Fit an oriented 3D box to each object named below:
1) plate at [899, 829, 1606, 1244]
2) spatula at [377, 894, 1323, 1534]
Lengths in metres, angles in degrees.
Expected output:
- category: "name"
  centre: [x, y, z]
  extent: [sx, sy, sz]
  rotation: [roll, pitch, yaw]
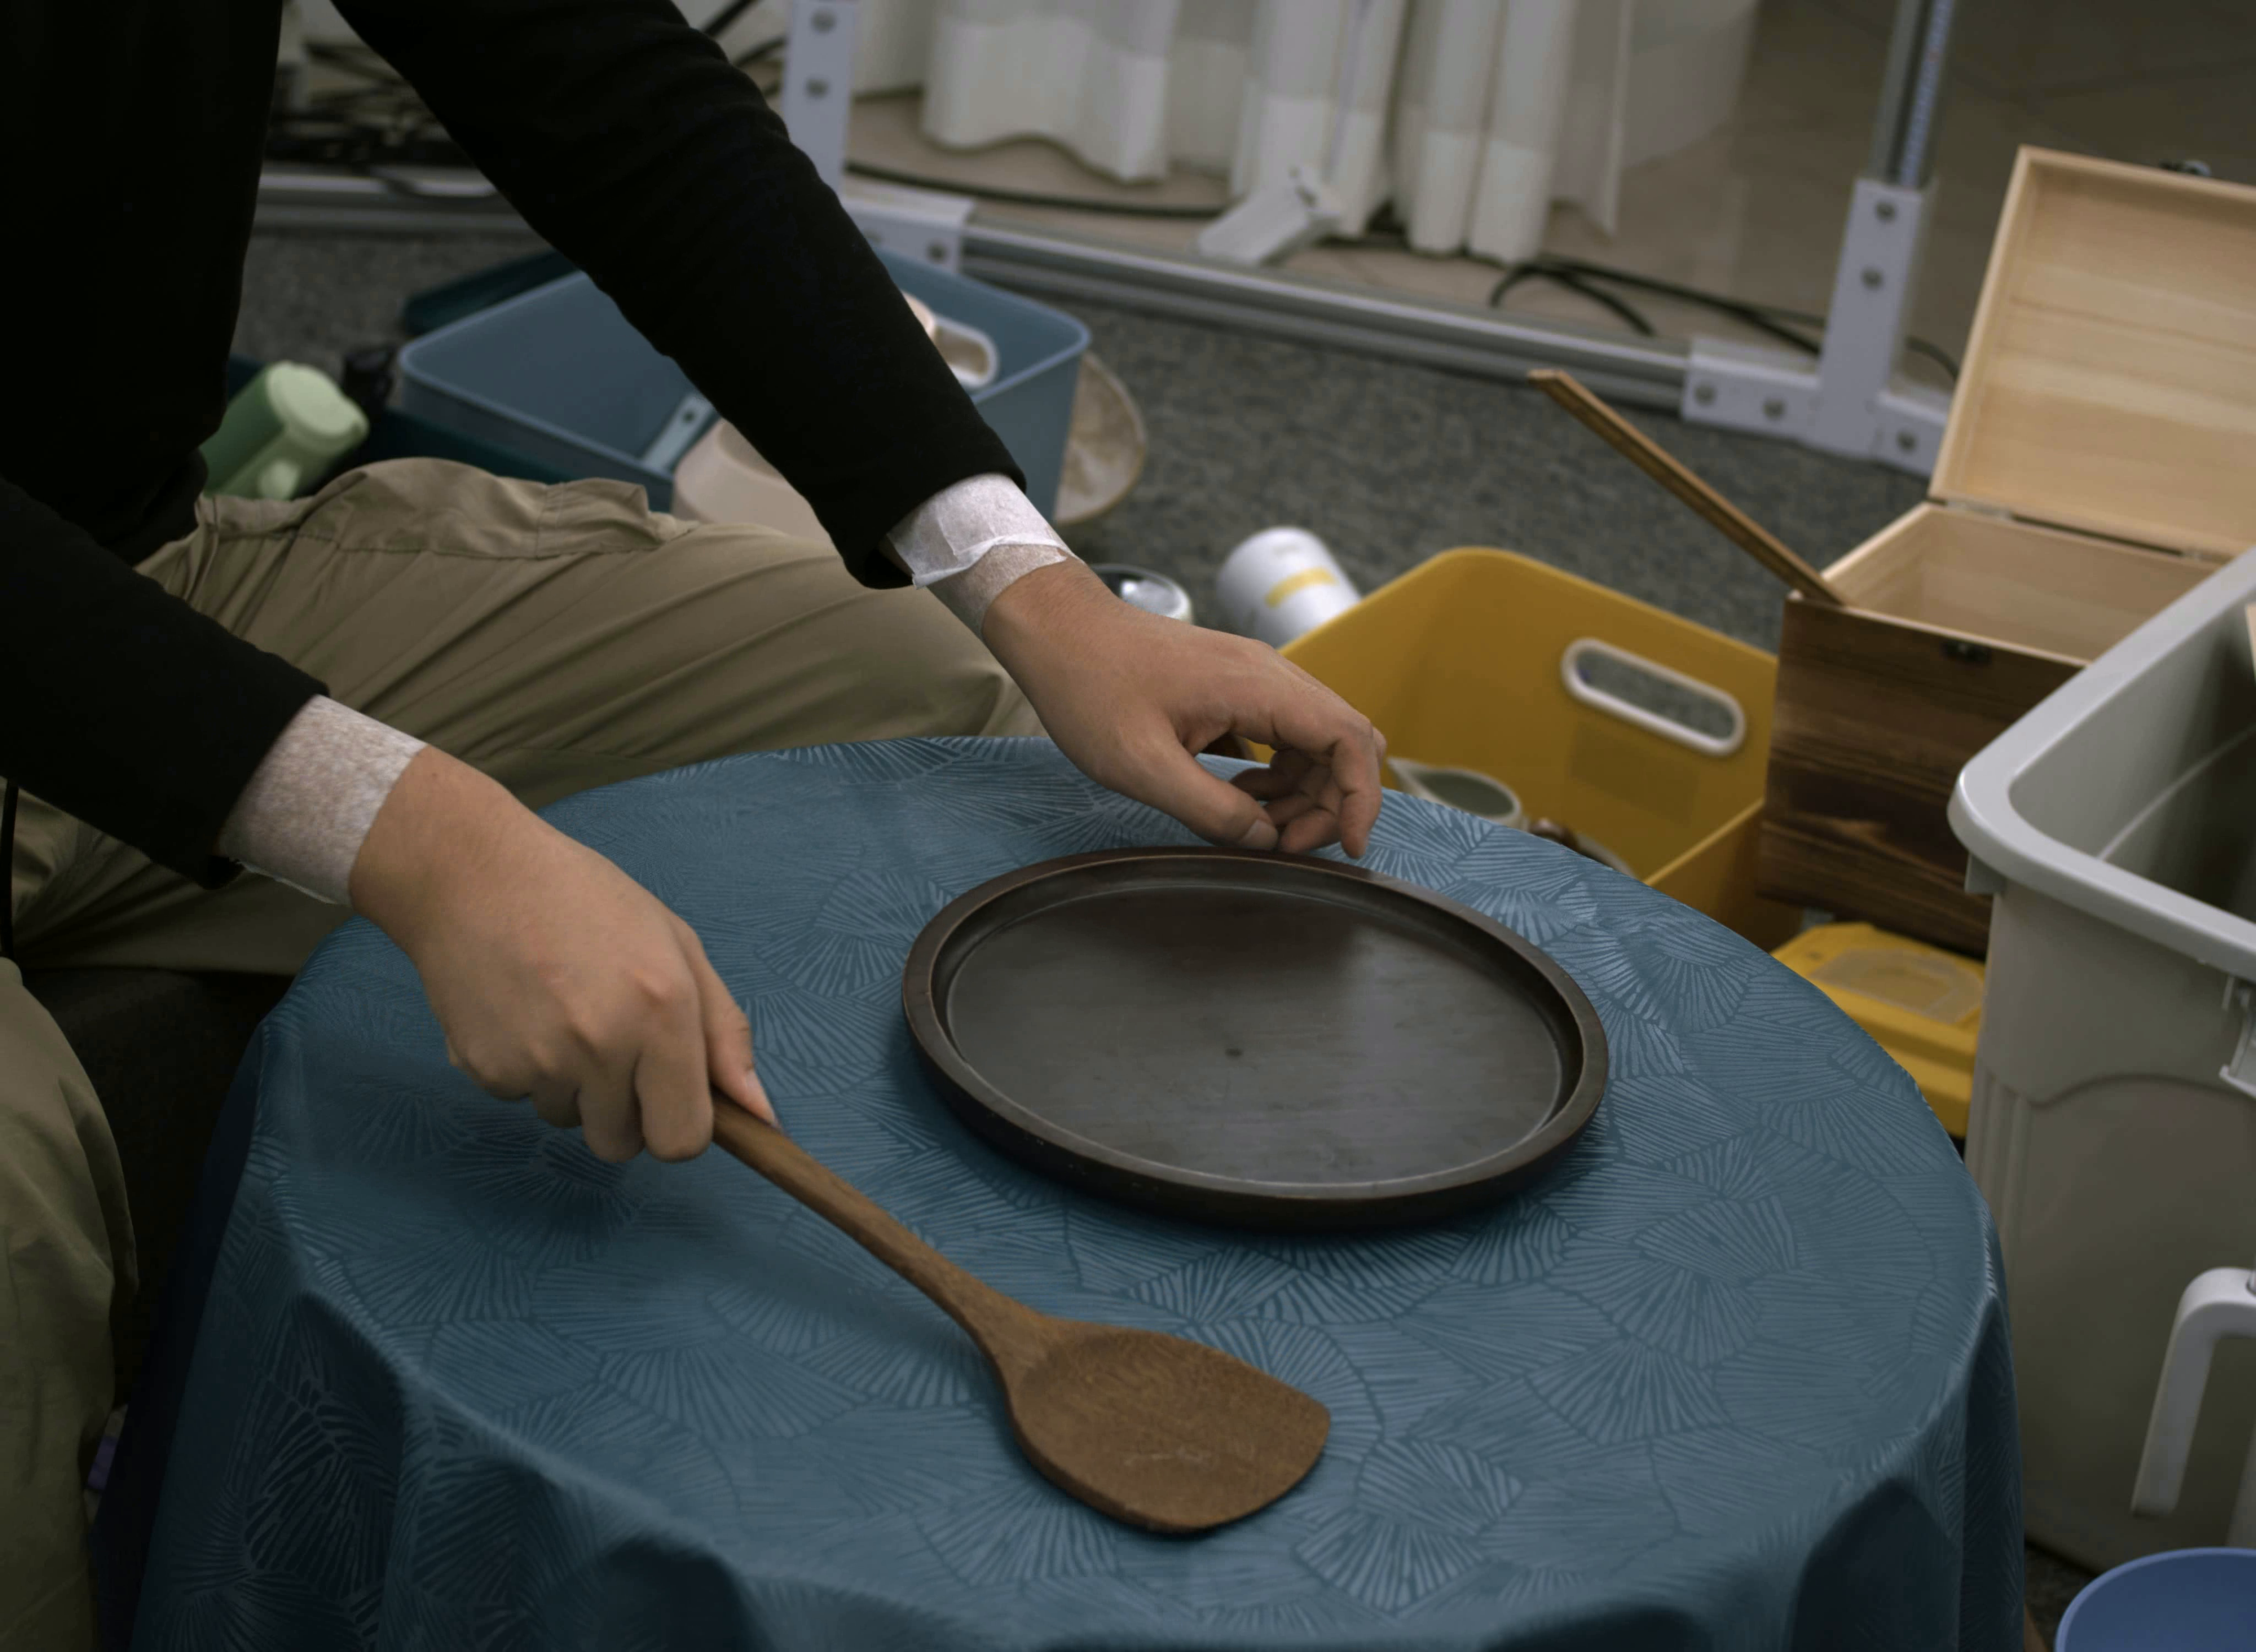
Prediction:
- category: "plate"
  centre: [0.043, 0.075, 1.883]
  extent: [0.254, 0.029, 0.256]
  rotation: [5, 28, -3]
- category: "spatula"
  centre: [-0.104, 0.117, 1.726]
  extent: [0.388, 0.016, 0.096]
  rotation: [33, 35, 25]
